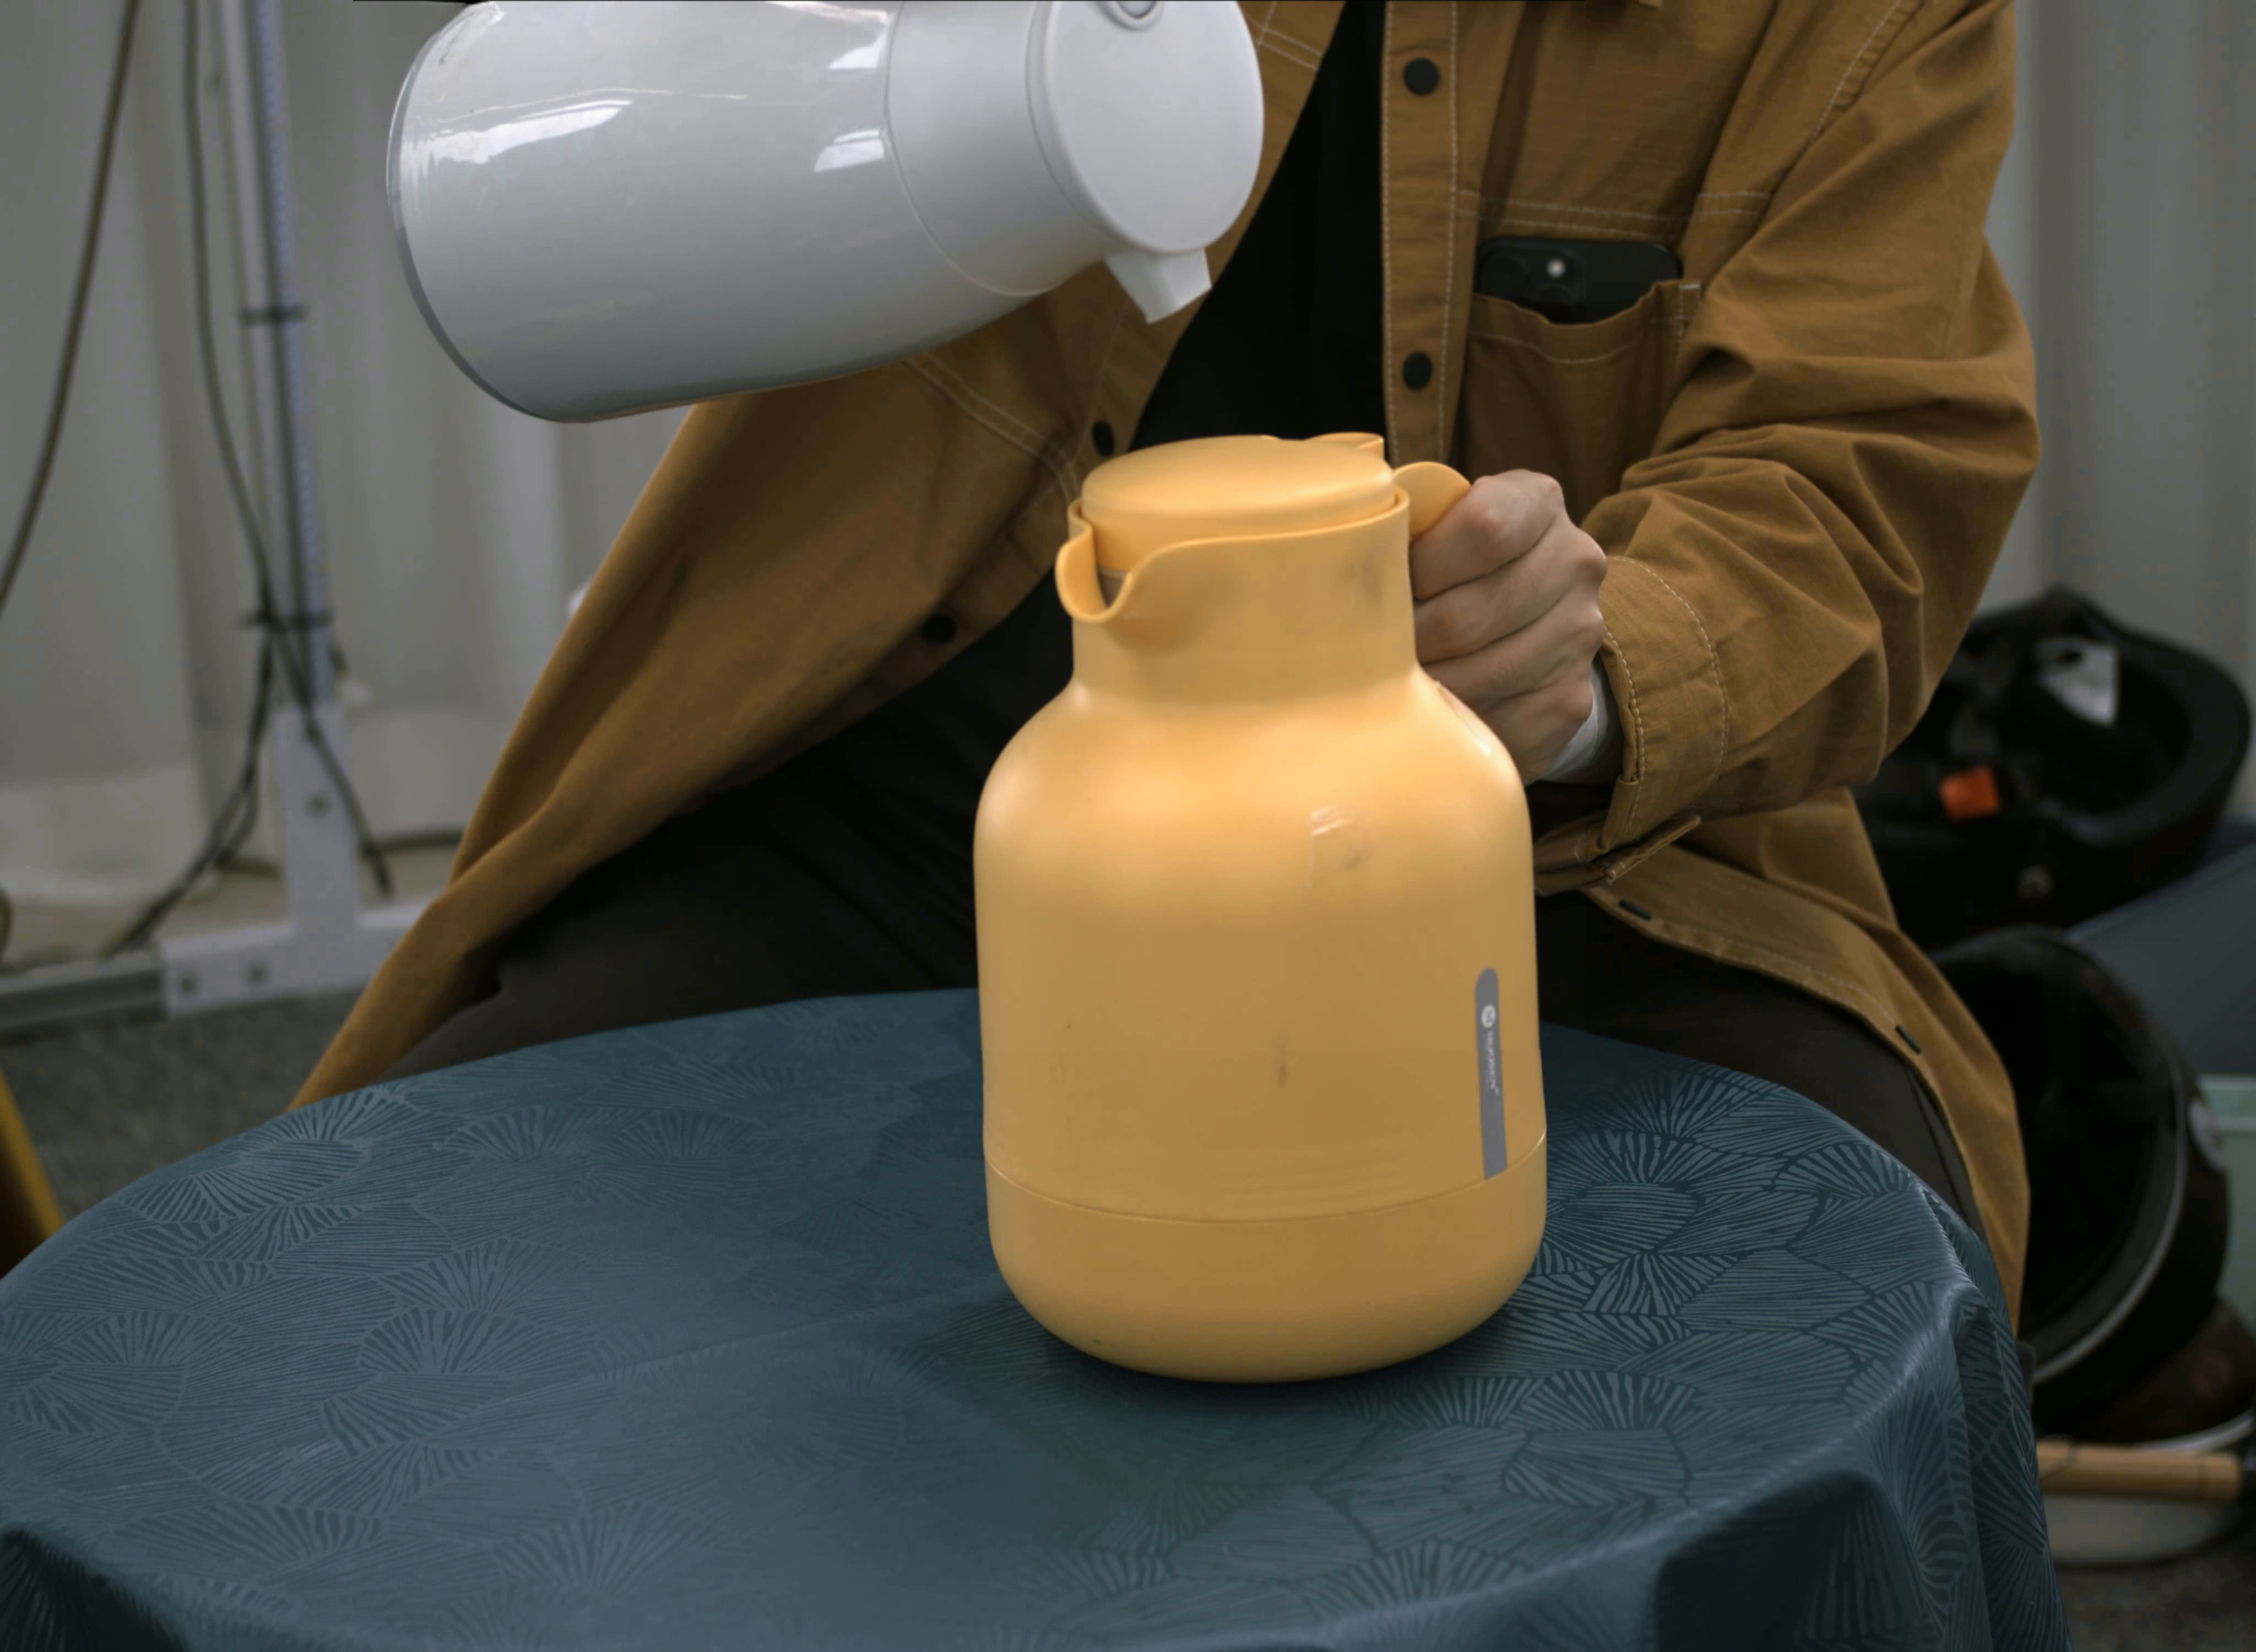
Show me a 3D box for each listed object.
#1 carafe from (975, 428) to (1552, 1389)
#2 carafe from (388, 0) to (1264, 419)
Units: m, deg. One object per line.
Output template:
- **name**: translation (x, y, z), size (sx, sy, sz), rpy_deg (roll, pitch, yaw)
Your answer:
- **carafe**: translation (0.050, 0.016, 1.579), size (0.164, 0.259, 0.202), rpy_deg (10, 20, 37)
- **carafe**: translation (-0.087, -0.211, 1.564), size (0.249, 0.167, 0.133), rpy_deg (-5, 23, 40)
